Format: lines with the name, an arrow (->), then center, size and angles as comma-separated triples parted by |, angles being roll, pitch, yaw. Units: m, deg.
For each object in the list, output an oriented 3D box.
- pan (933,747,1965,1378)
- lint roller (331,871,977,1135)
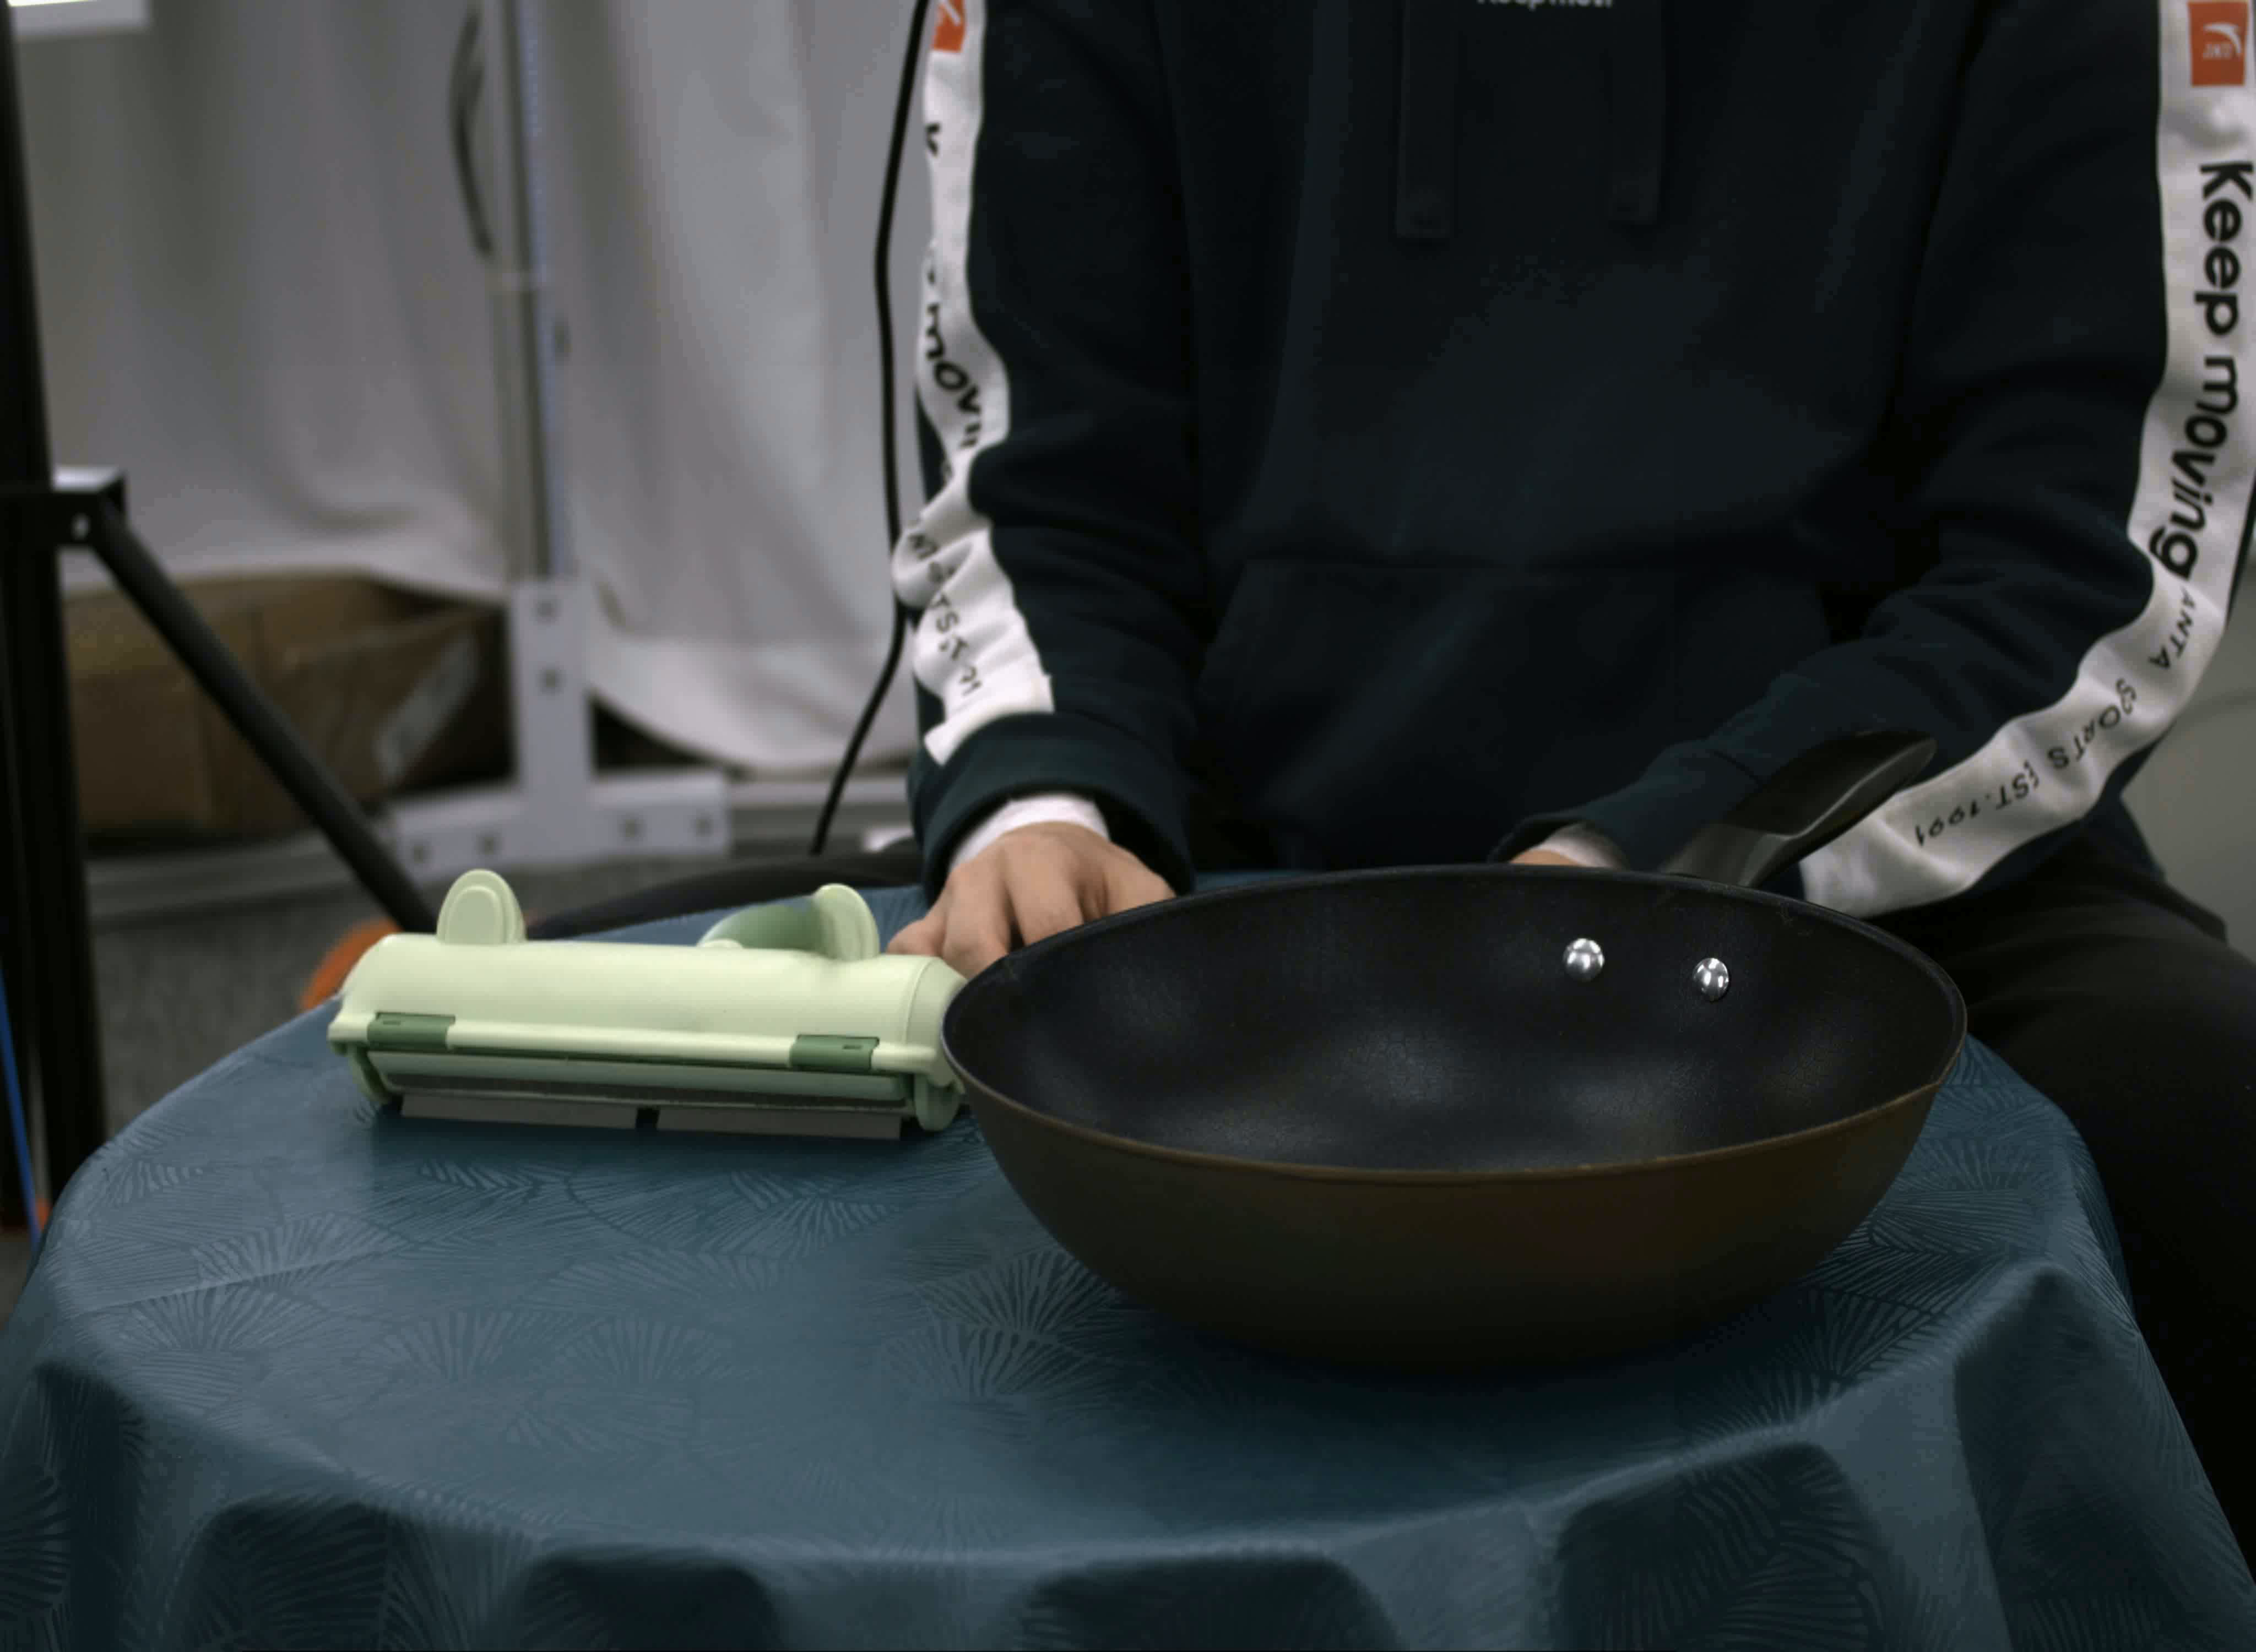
pan -> 0.133, 0.065, 1.536 | 0.293, 0.087, 0.455 | 7, 18, 30
lint roller -> -0.131, 0.038, 1.691 | 0.200, 0.082, 0.182 | 2, 22, 16
